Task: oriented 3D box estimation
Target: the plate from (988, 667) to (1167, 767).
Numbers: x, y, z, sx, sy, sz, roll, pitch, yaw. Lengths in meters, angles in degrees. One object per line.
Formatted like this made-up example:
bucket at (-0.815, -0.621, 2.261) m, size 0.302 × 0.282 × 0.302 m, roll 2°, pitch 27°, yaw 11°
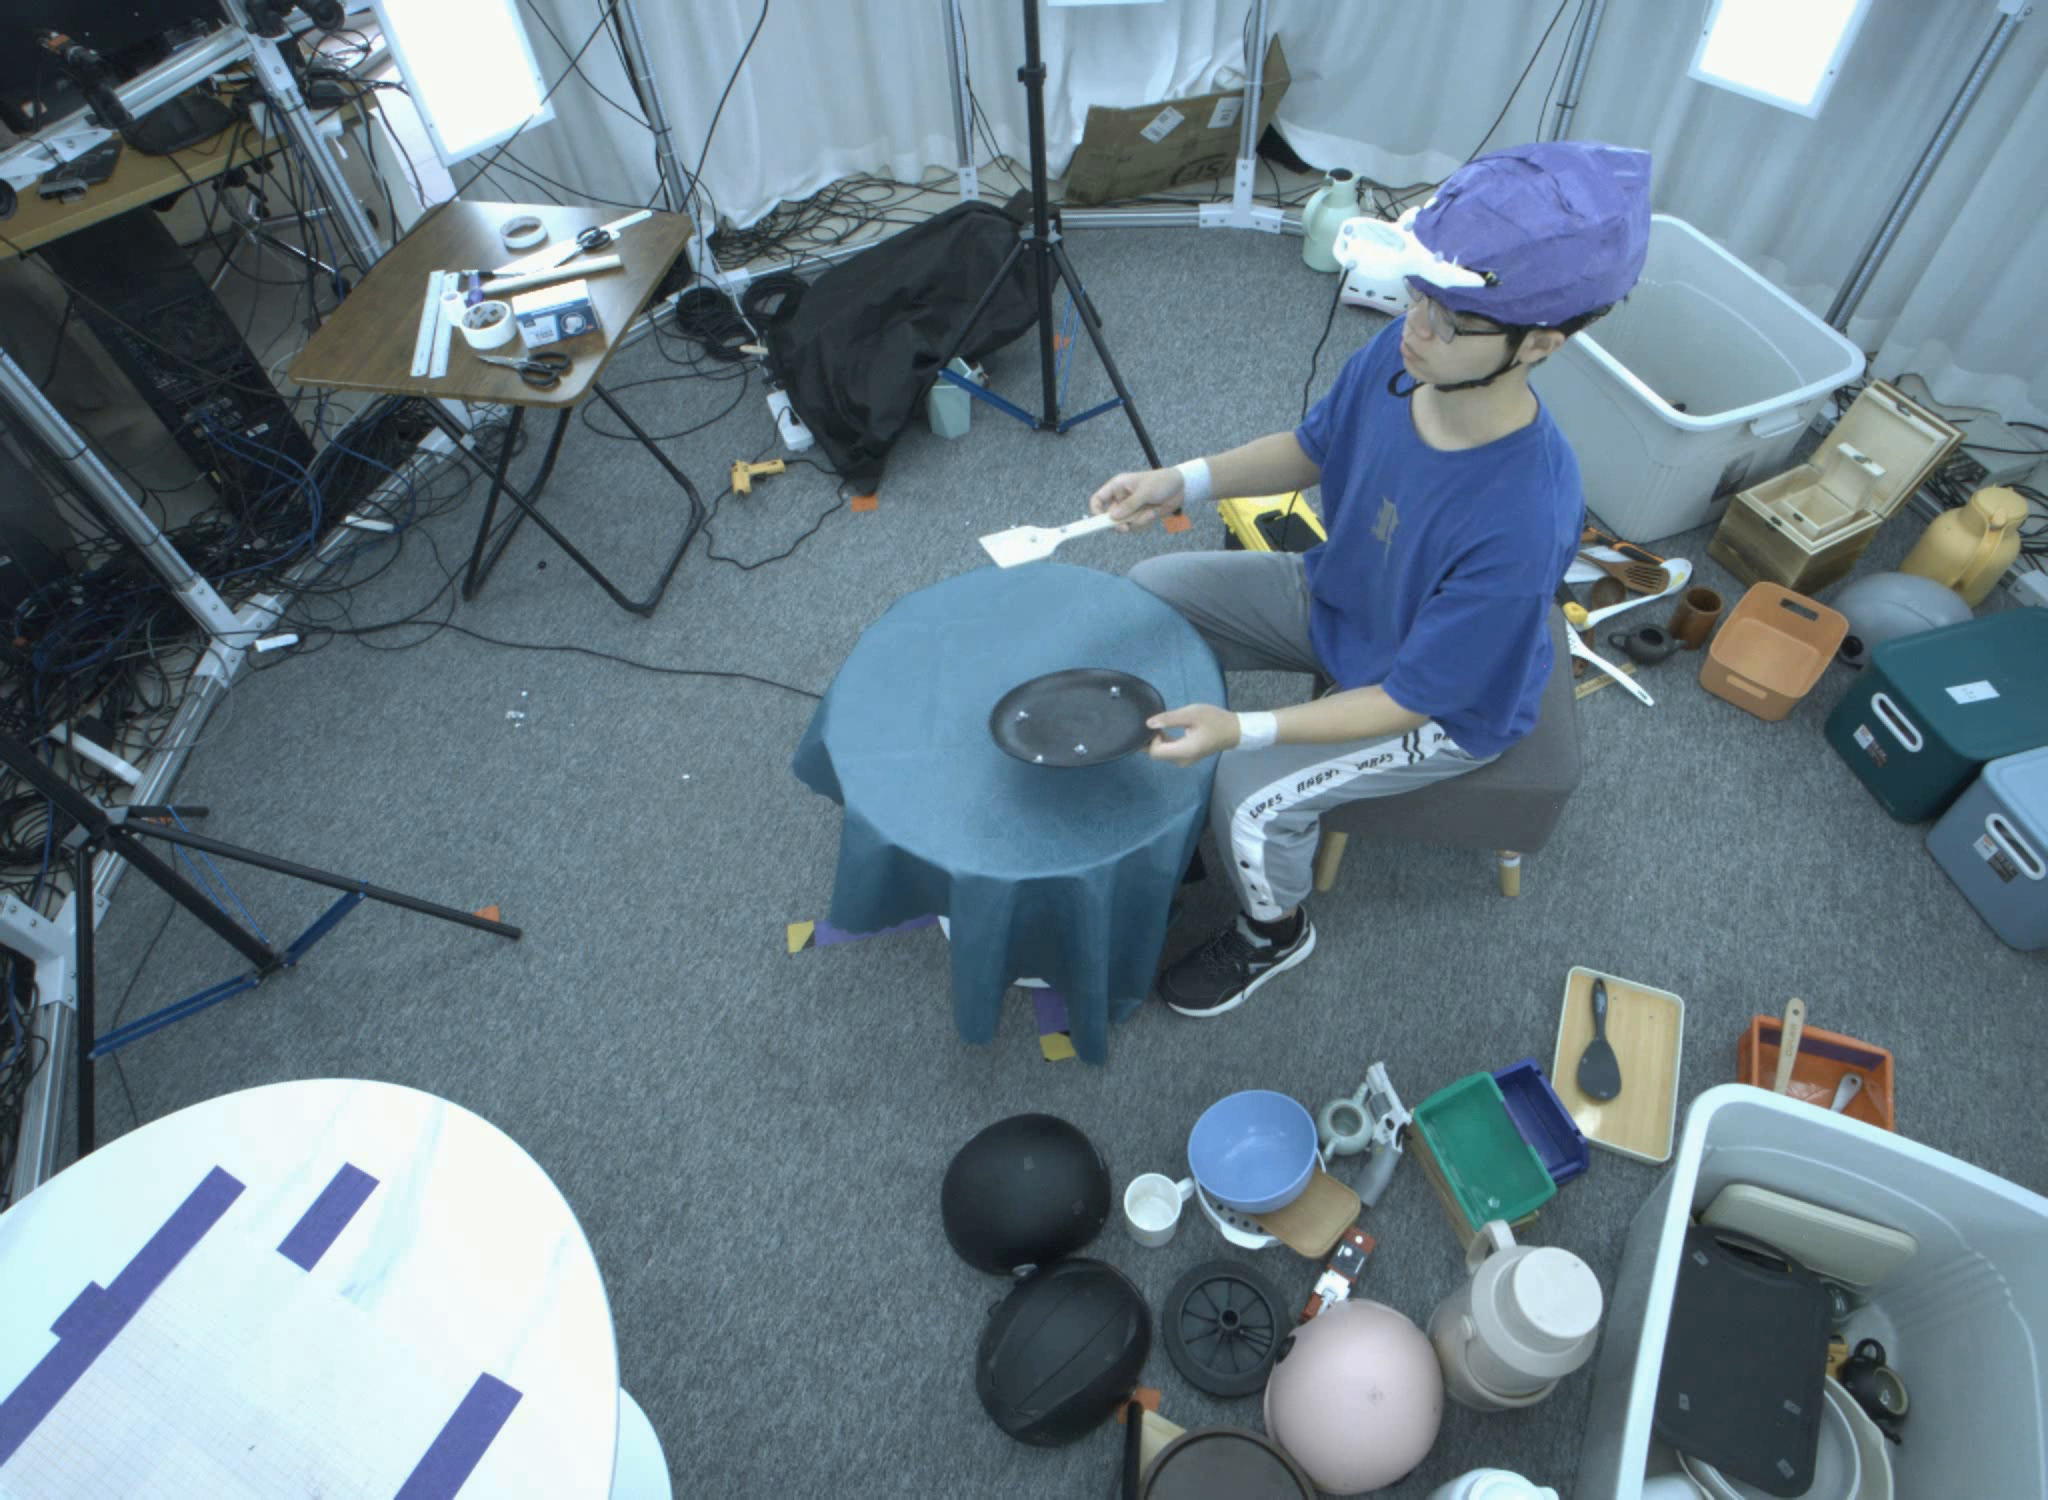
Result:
plate at (0.072, -0.041, 1.669) m, size 0.244 × 0.024 × 0.242 m, roll -4°, pitch 35°, yaw 4°

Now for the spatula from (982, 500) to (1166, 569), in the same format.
spatula at (0.079, -0.316, 1.747) m, size 0.297 × 0.011 × 0.071 m, roll -21°, pitch 56°, yaw -26°
